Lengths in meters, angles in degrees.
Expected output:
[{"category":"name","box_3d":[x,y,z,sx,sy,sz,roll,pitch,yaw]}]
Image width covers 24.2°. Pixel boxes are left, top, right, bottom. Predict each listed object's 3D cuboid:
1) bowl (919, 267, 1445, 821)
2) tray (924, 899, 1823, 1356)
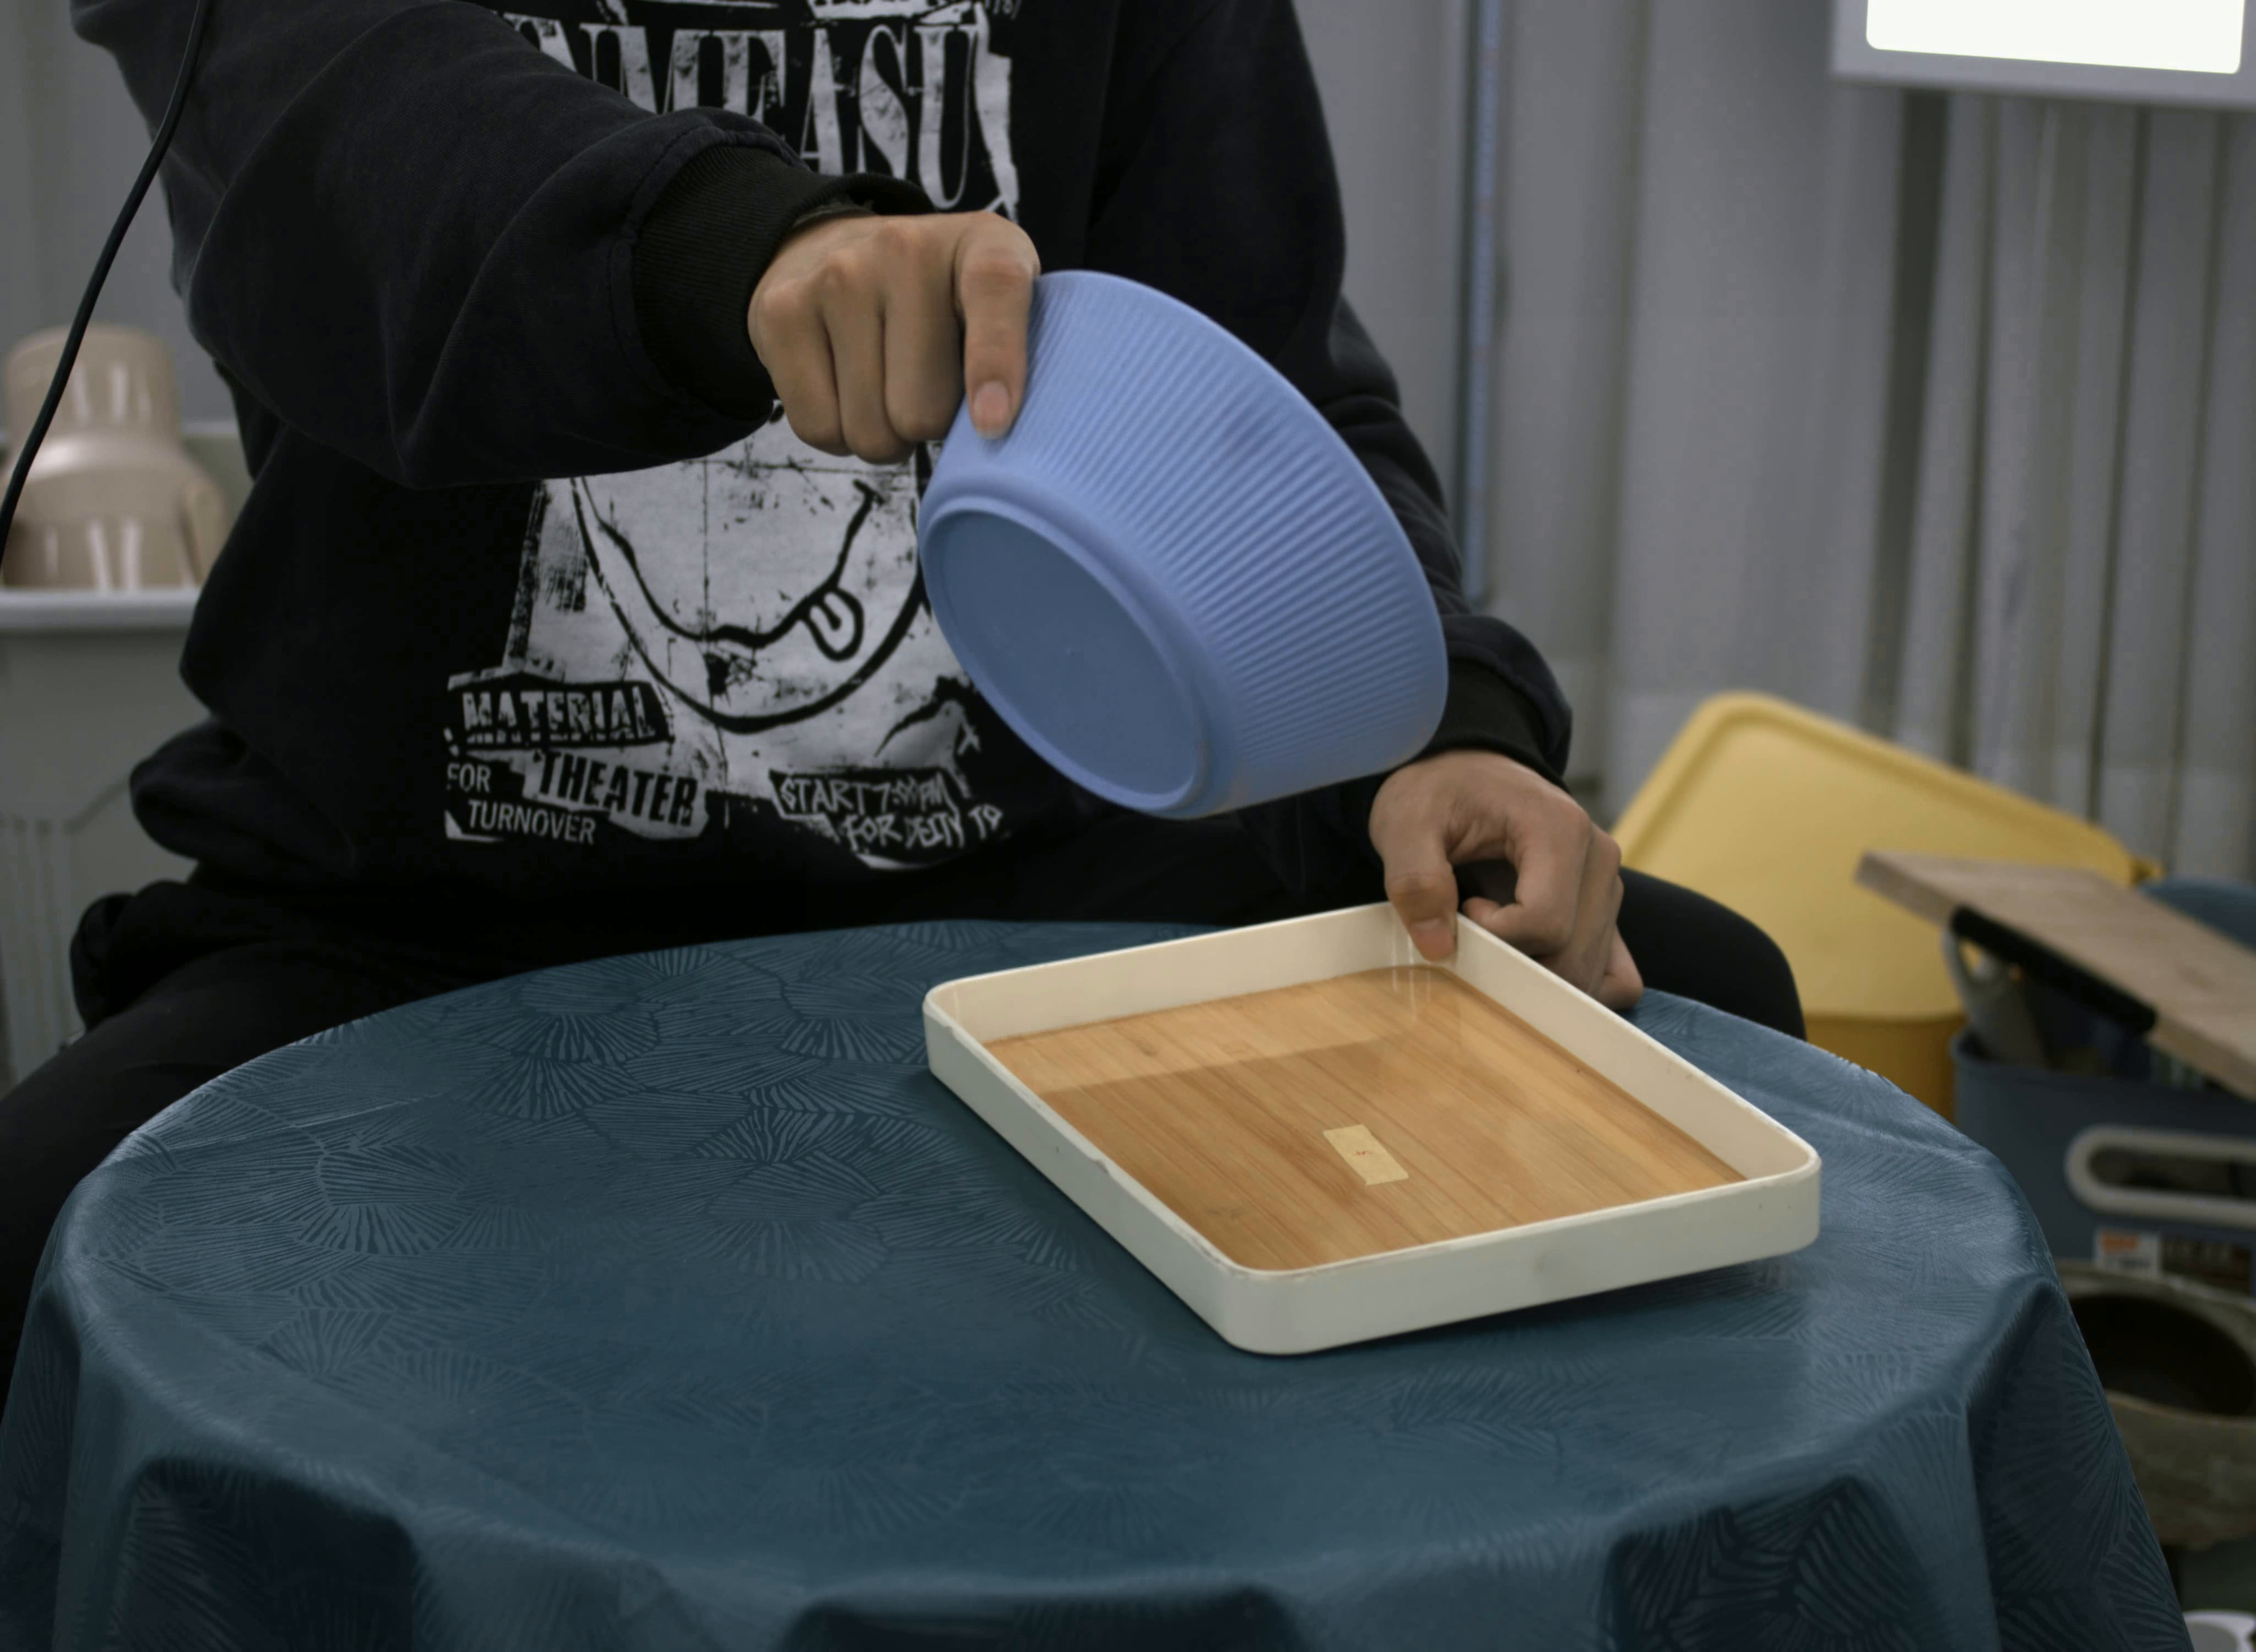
[{"category":"bowl","box_3d":[0.003,-0.067,1.496,0.070,0.178,0.173,-41,37,-26]},{"category":"tray","box_3d":[0.069,0.089,1.643,0.192,0.027,0.297,-9,19,-19]}]
